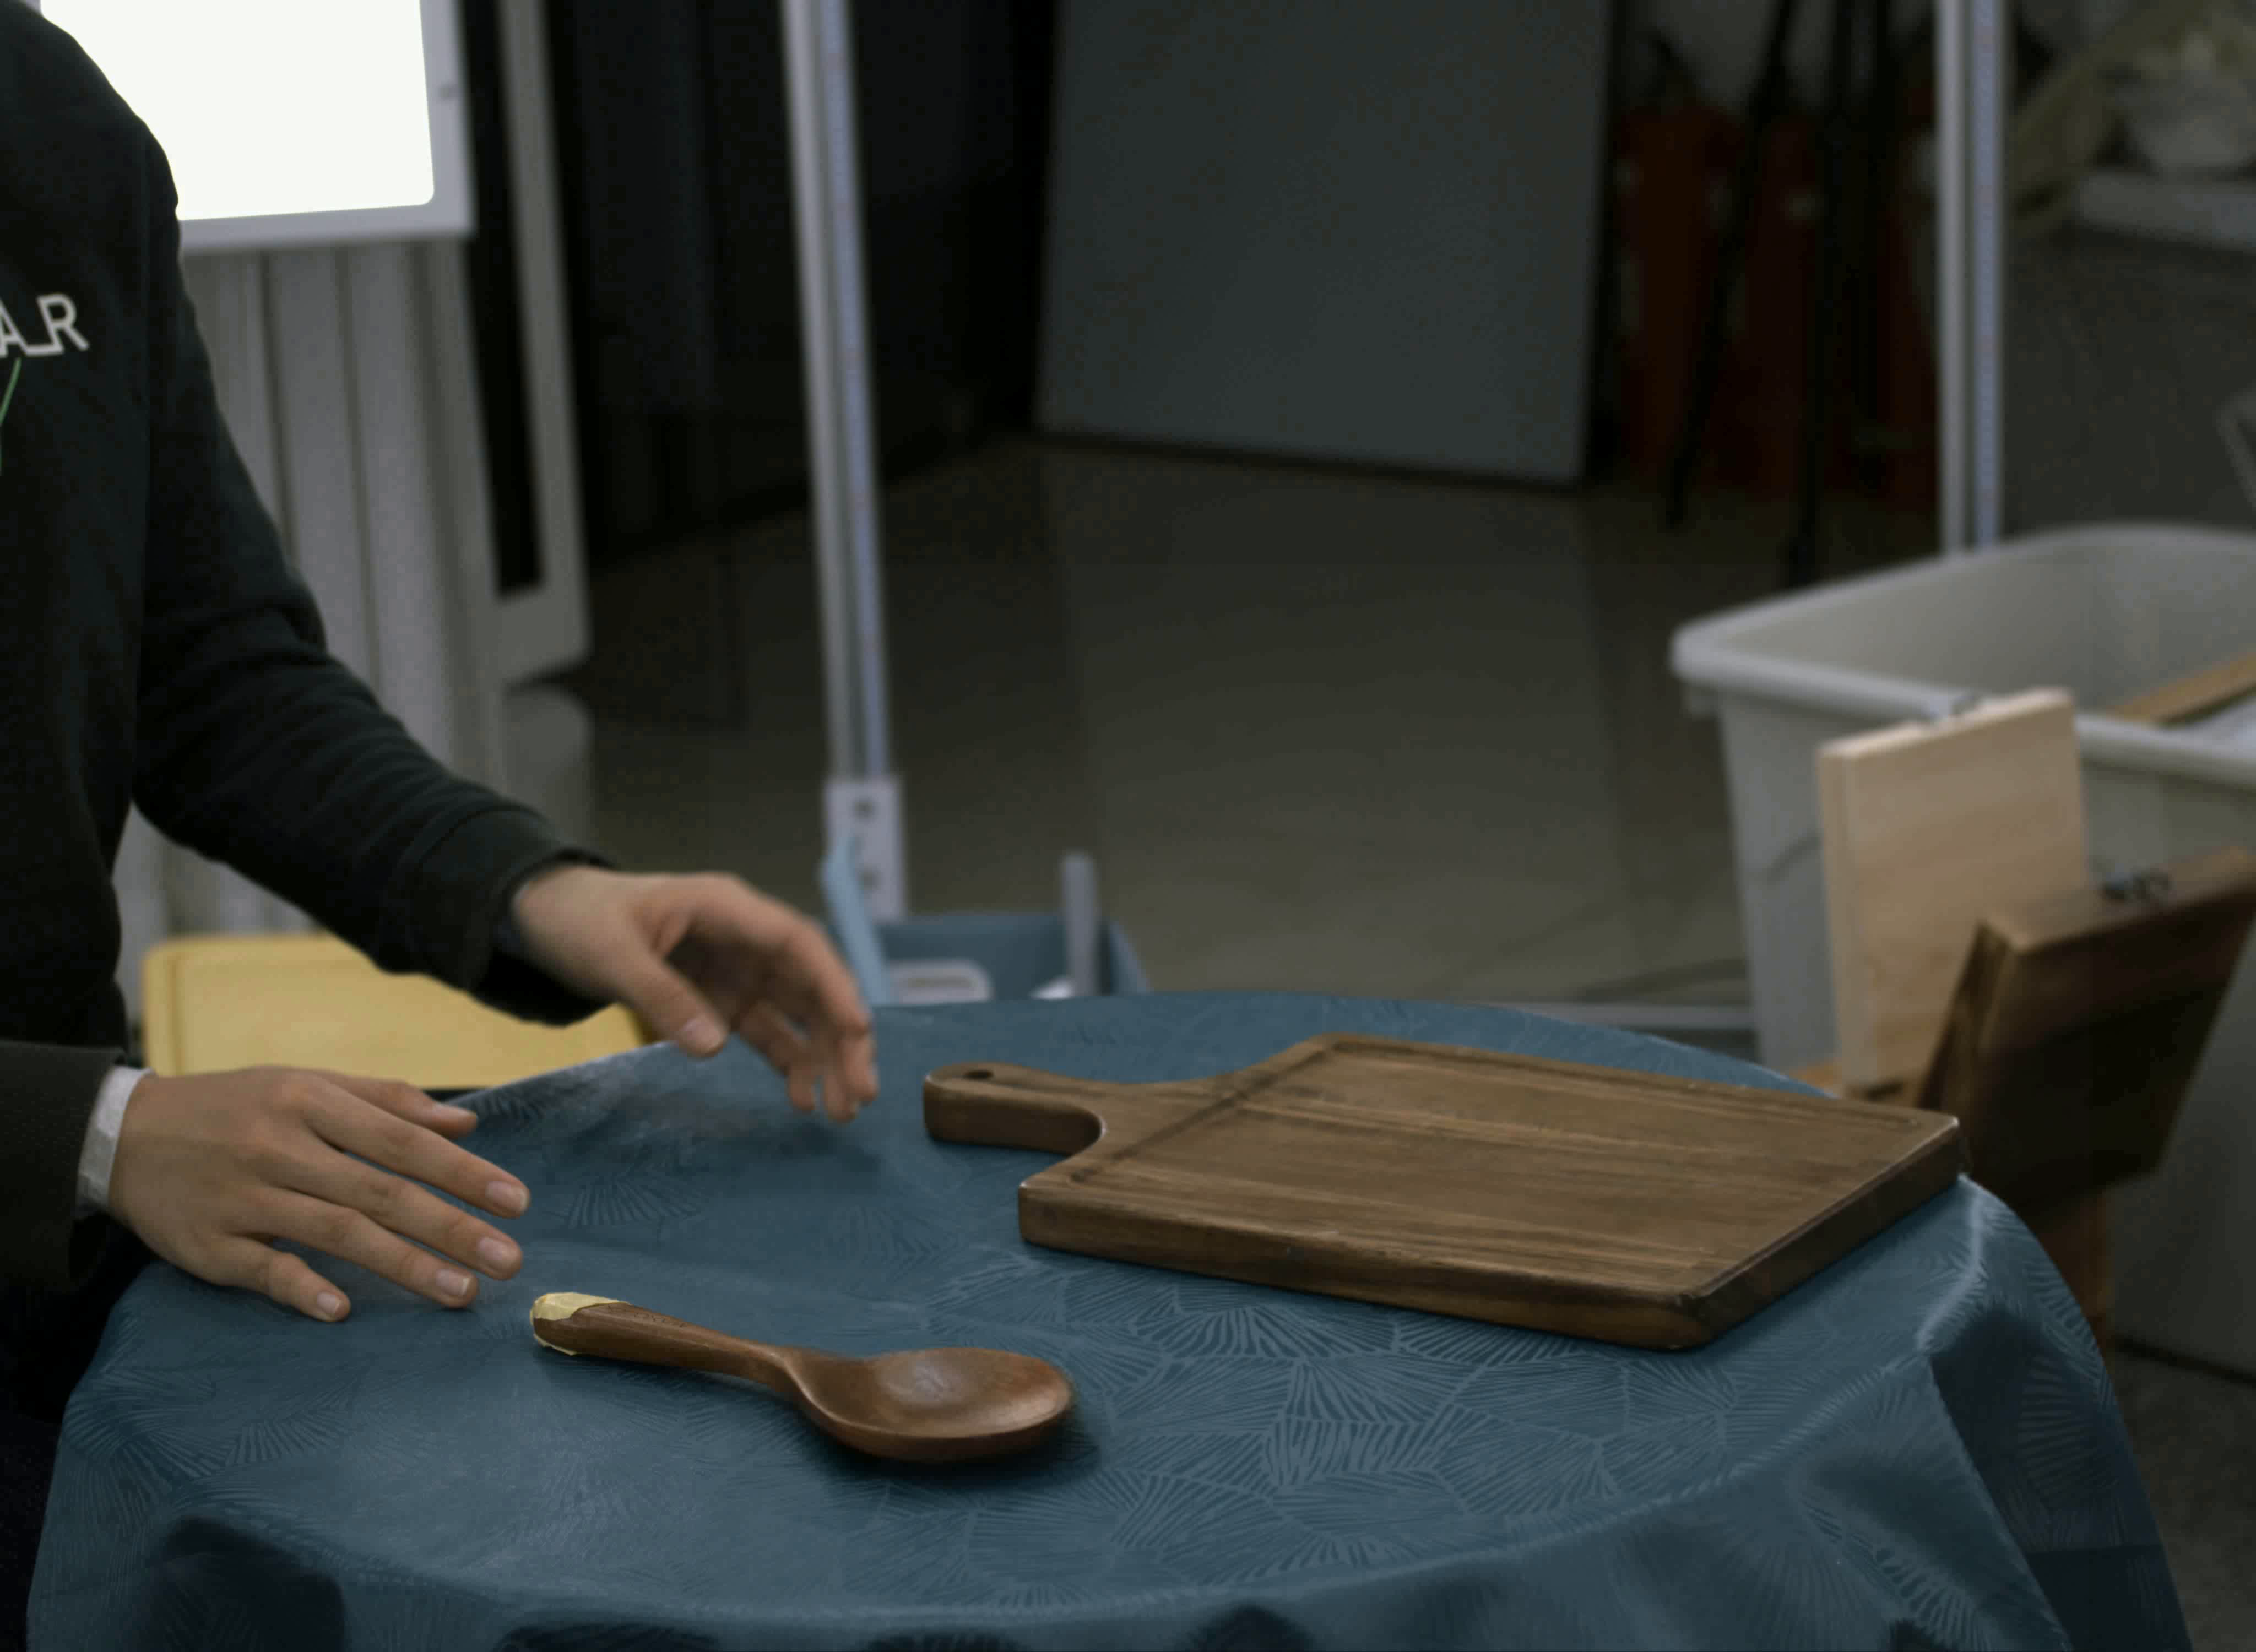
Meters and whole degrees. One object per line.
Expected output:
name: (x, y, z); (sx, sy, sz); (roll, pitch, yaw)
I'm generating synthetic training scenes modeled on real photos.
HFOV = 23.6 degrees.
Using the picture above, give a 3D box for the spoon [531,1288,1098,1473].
spoon: (-0.098, 0.162, 1.596); (0.217, 0.017, 0.074); (9, 21, 41)

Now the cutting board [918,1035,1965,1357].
cutting board: (0.077, 0.110, 1.755); (0.354, 0.023, 0.197); (6, 18, 35)
